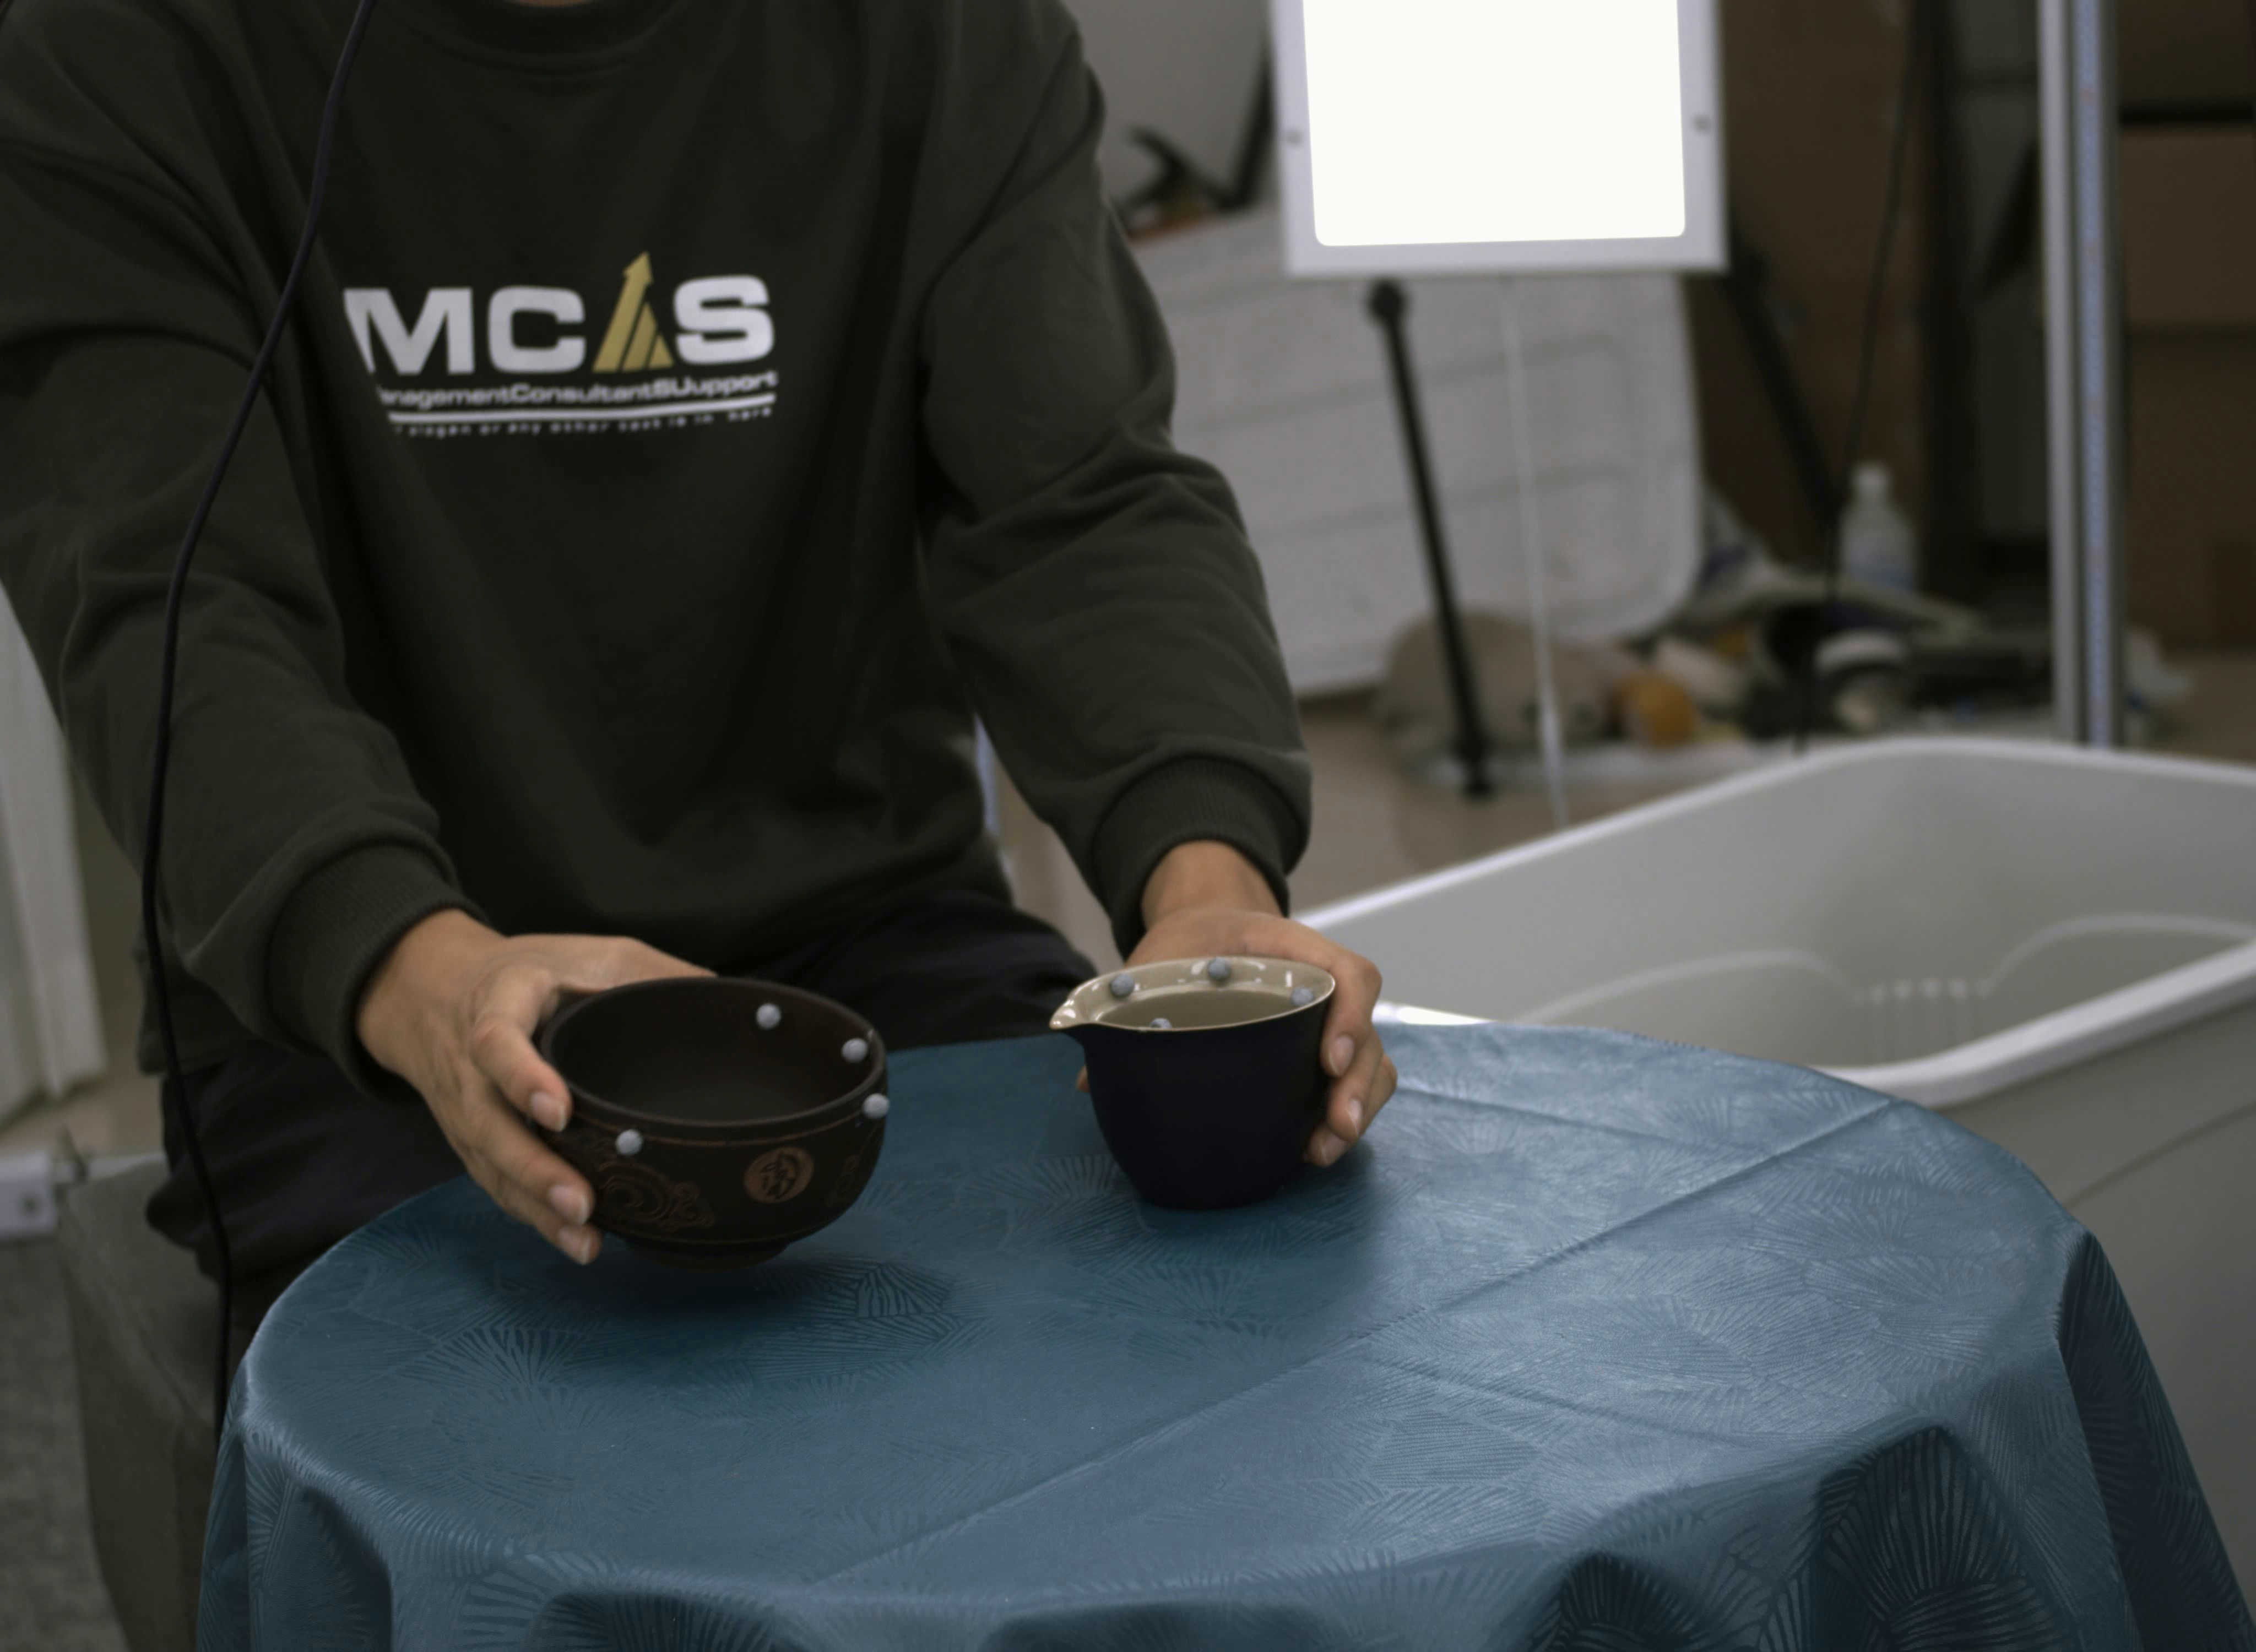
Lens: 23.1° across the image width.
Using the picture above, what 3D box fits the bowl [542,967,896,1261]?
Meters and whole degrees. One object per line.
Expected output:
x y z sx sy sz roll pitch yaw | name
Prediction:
-0.136 0.101 1.829 0.117 0.070 0.118 1 22 -2 | bowl

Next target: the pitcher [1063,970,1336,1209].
0.027 0.090 1.886 0.095 0.071 0.084 -9 17 -11 | pitcher
